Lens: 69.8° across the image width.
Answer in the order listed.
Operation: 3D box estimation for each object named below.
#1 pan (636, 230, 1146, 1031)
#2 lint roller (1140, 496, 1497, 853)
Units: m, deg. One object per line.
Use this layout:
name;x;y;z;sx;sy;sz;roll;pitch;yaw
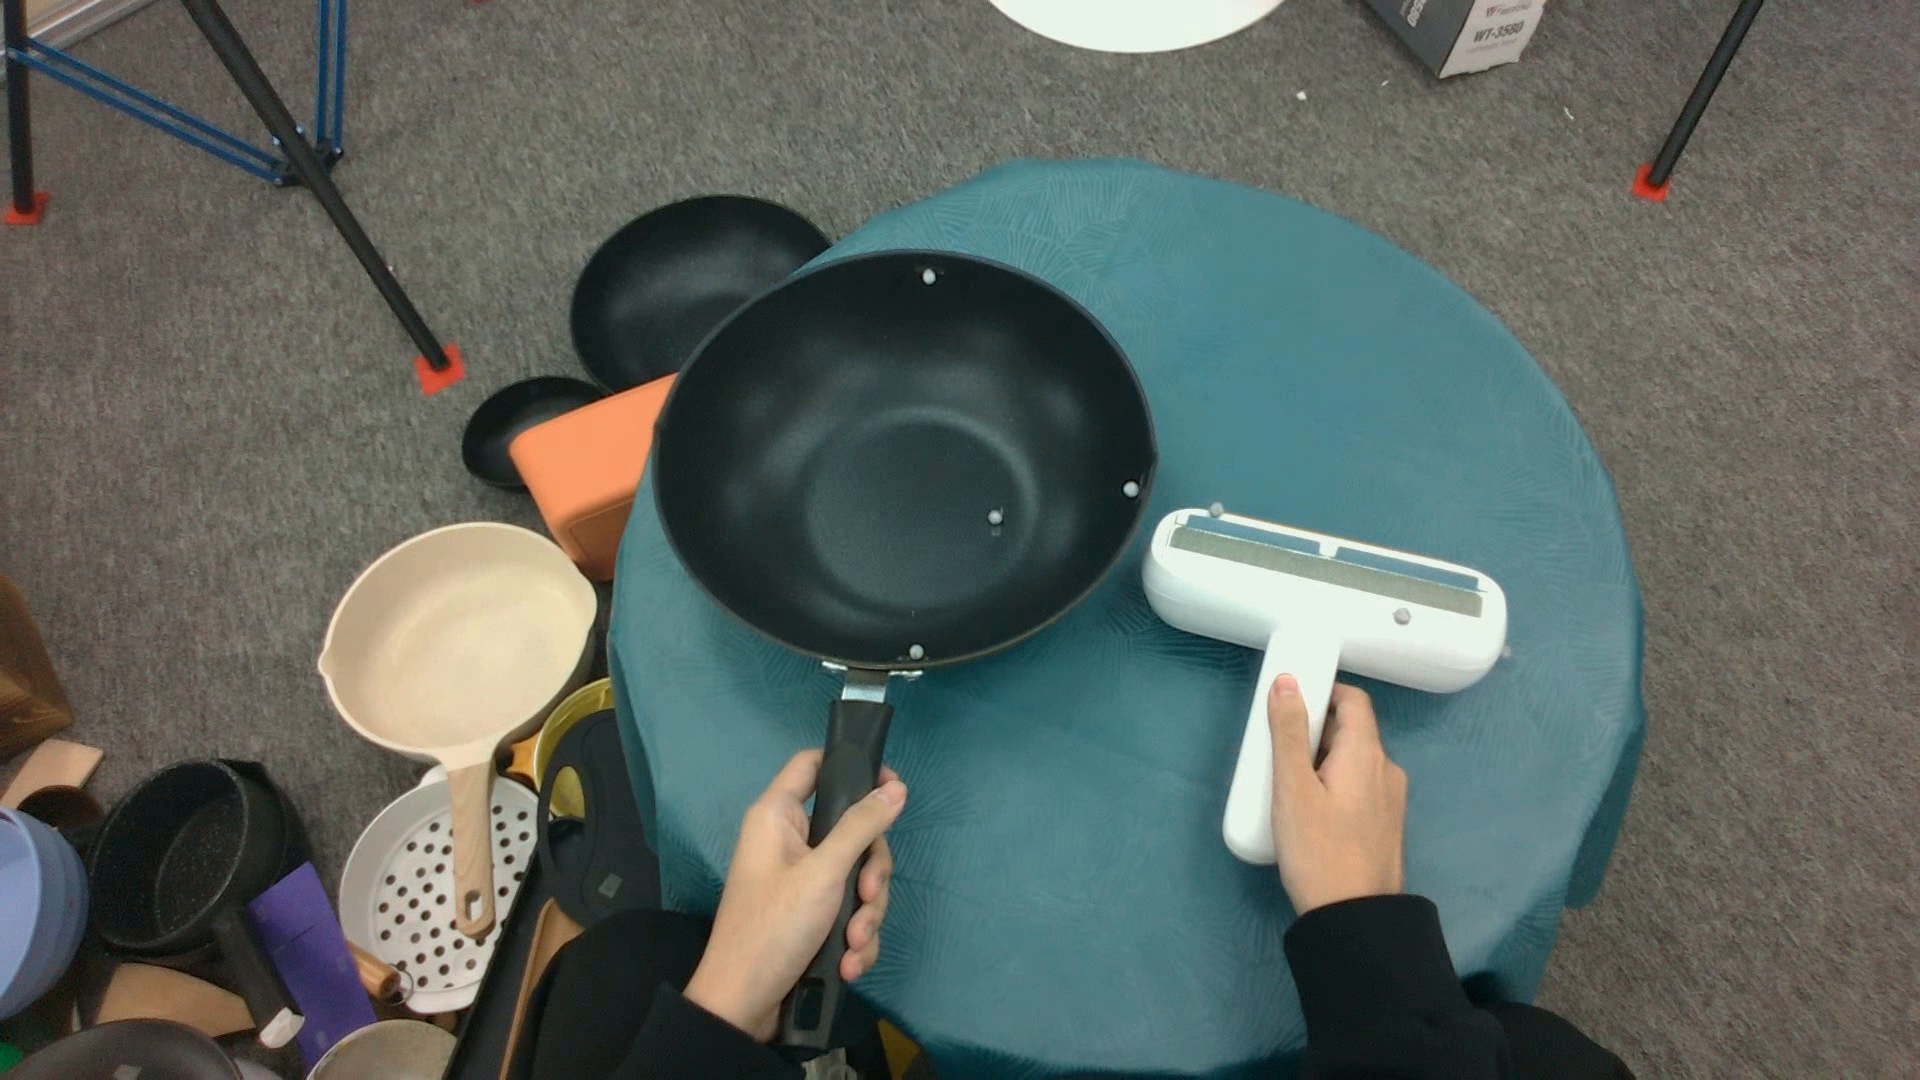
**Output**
pan;-0.050;0.034;0.759;0.288;0.086;0.465;5;62;5
lint roller;0.171;0.072;0.727;0.193;0.074;0.193;19;52;13
